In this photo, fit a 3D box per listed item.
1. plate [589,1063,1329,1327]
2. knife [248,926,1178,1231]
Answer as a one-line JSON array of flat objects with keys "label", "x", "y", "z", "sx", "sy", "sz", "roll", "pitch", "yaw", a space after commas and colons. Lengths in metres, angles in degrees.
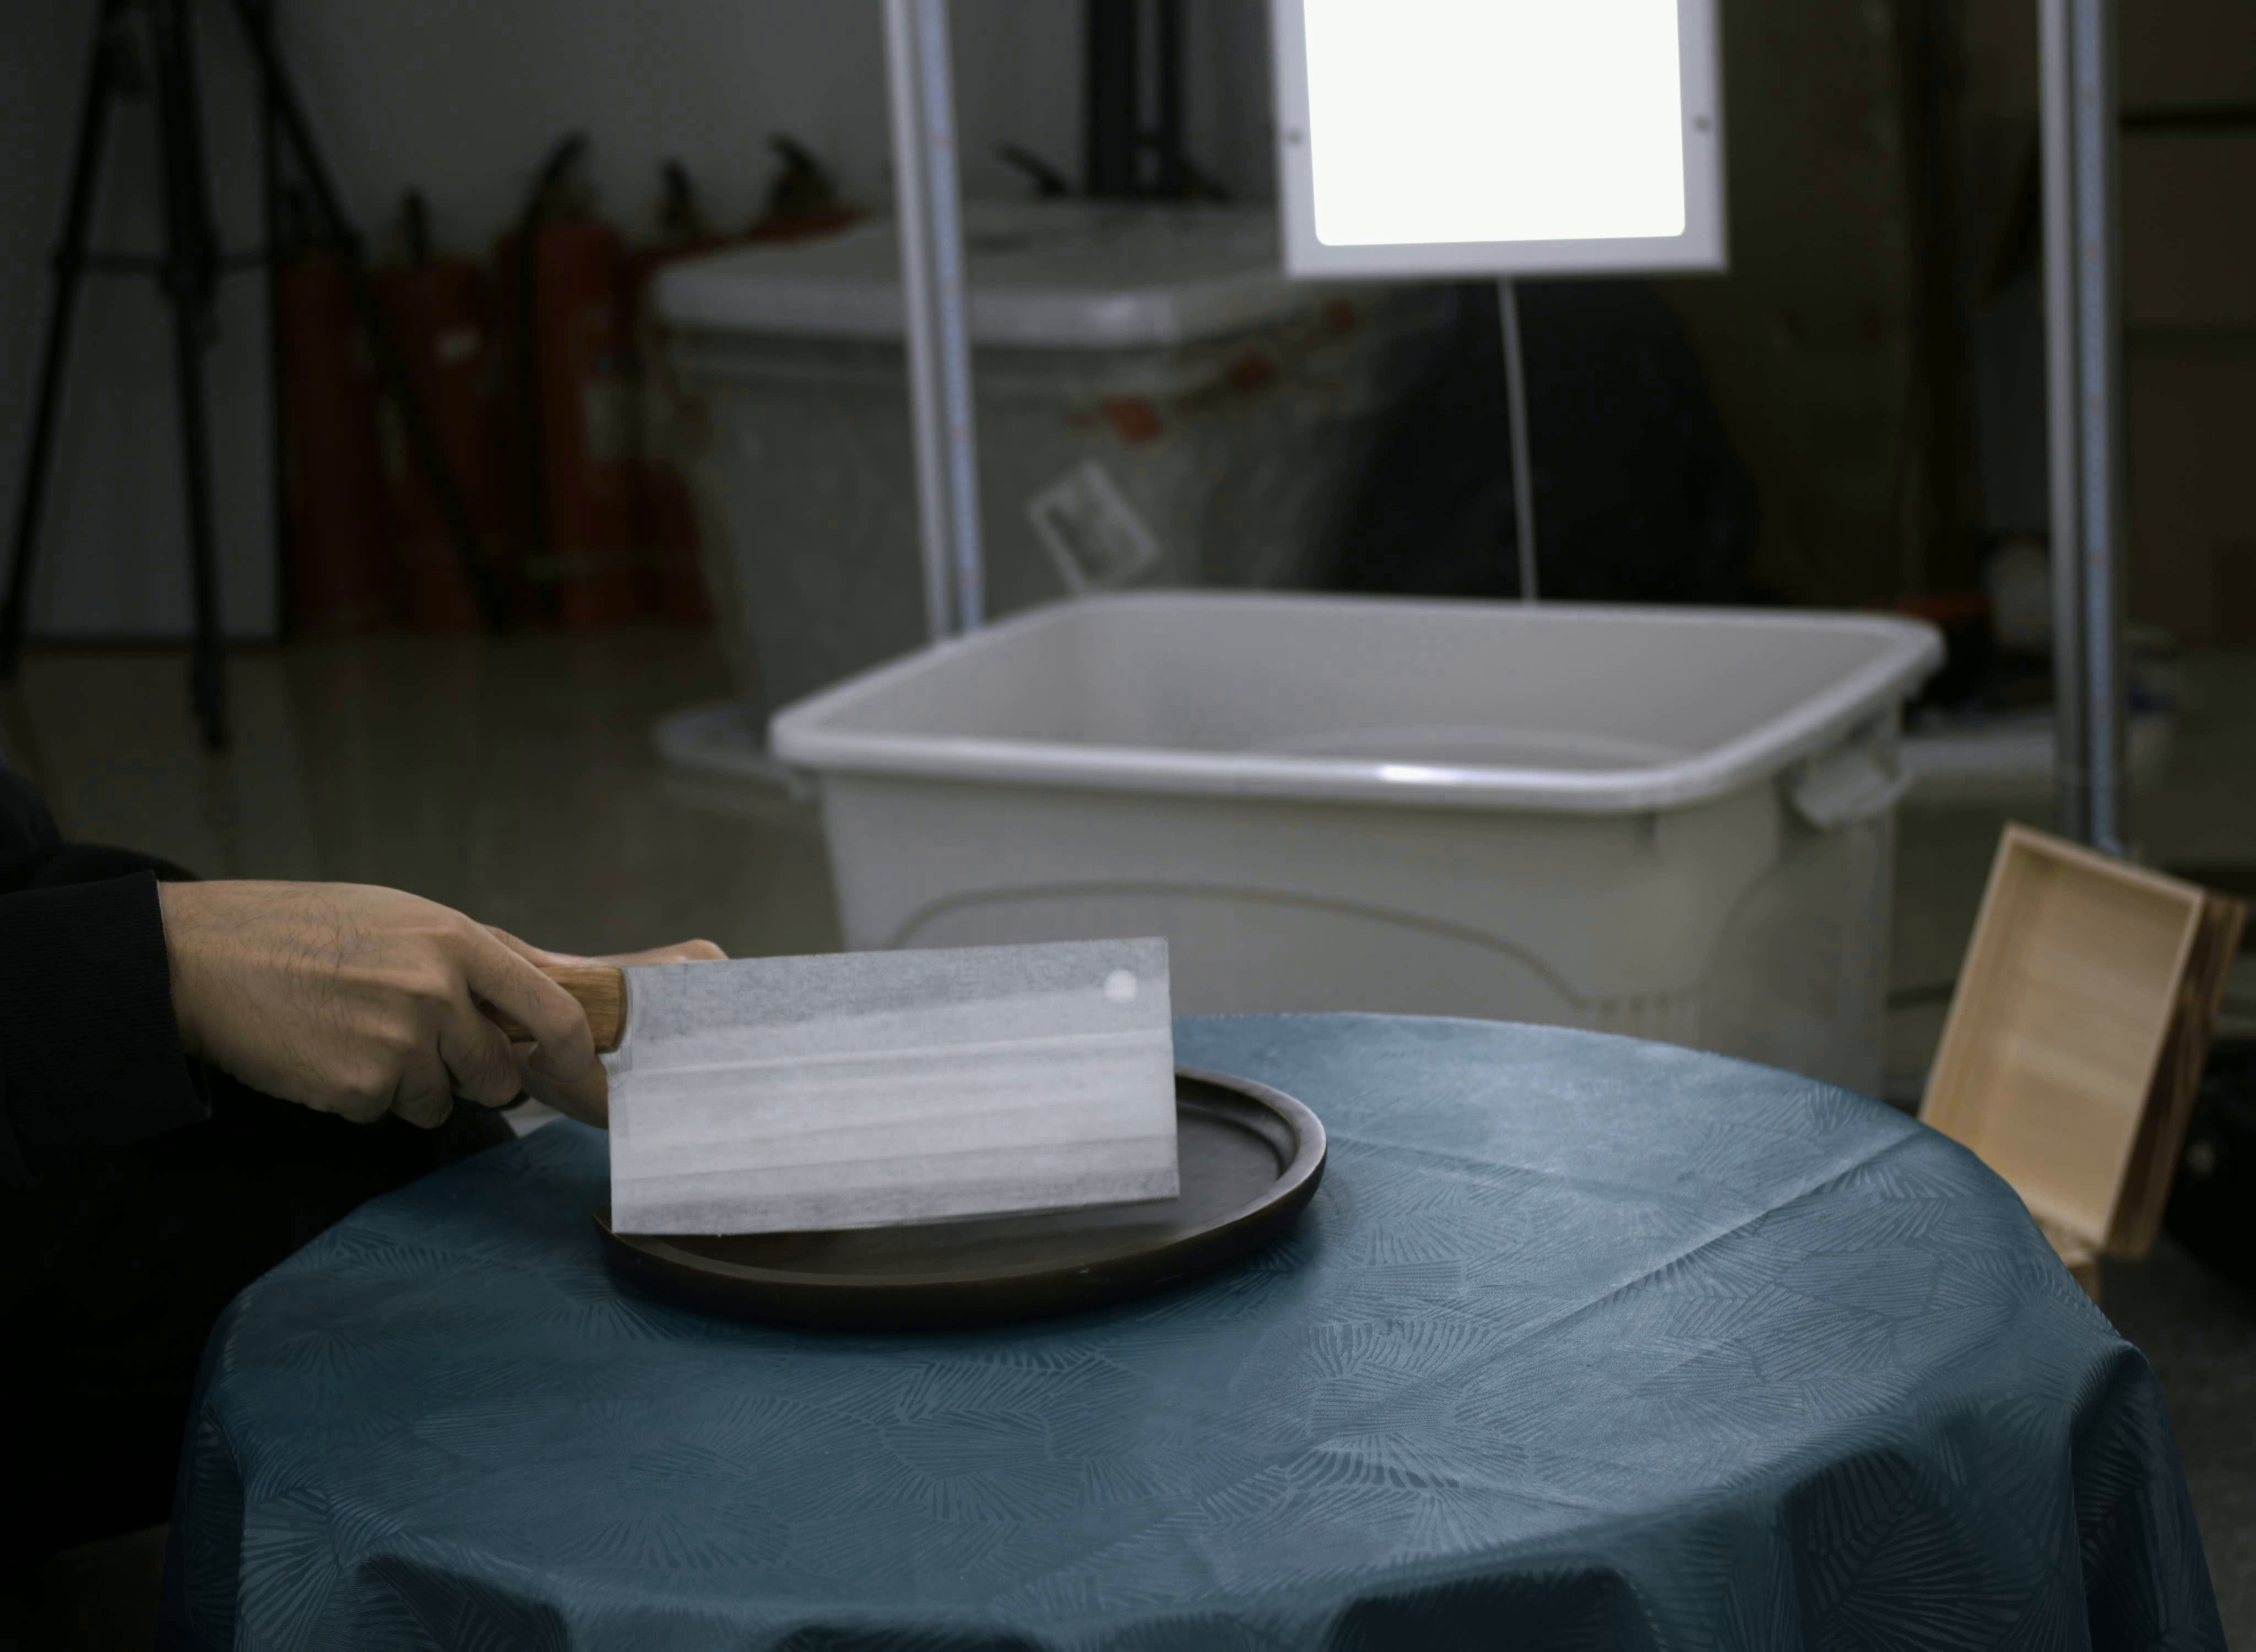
[{"label": "plate", "x": -0.057, "y": 0.123, "z": 1.879, "sx": 0.254, "sy": 0.029, "sz": 0.254, "roll": -4, "pitch": 12, "yaw": 0}, {"label": "knife", "x": -0.135, "y": 0.086, "z": 1.821, "sx": 0.304, "sy": 0.093, "sz": 0.021, "roll": -3, "pitch": 4, "yaw": -4}]
